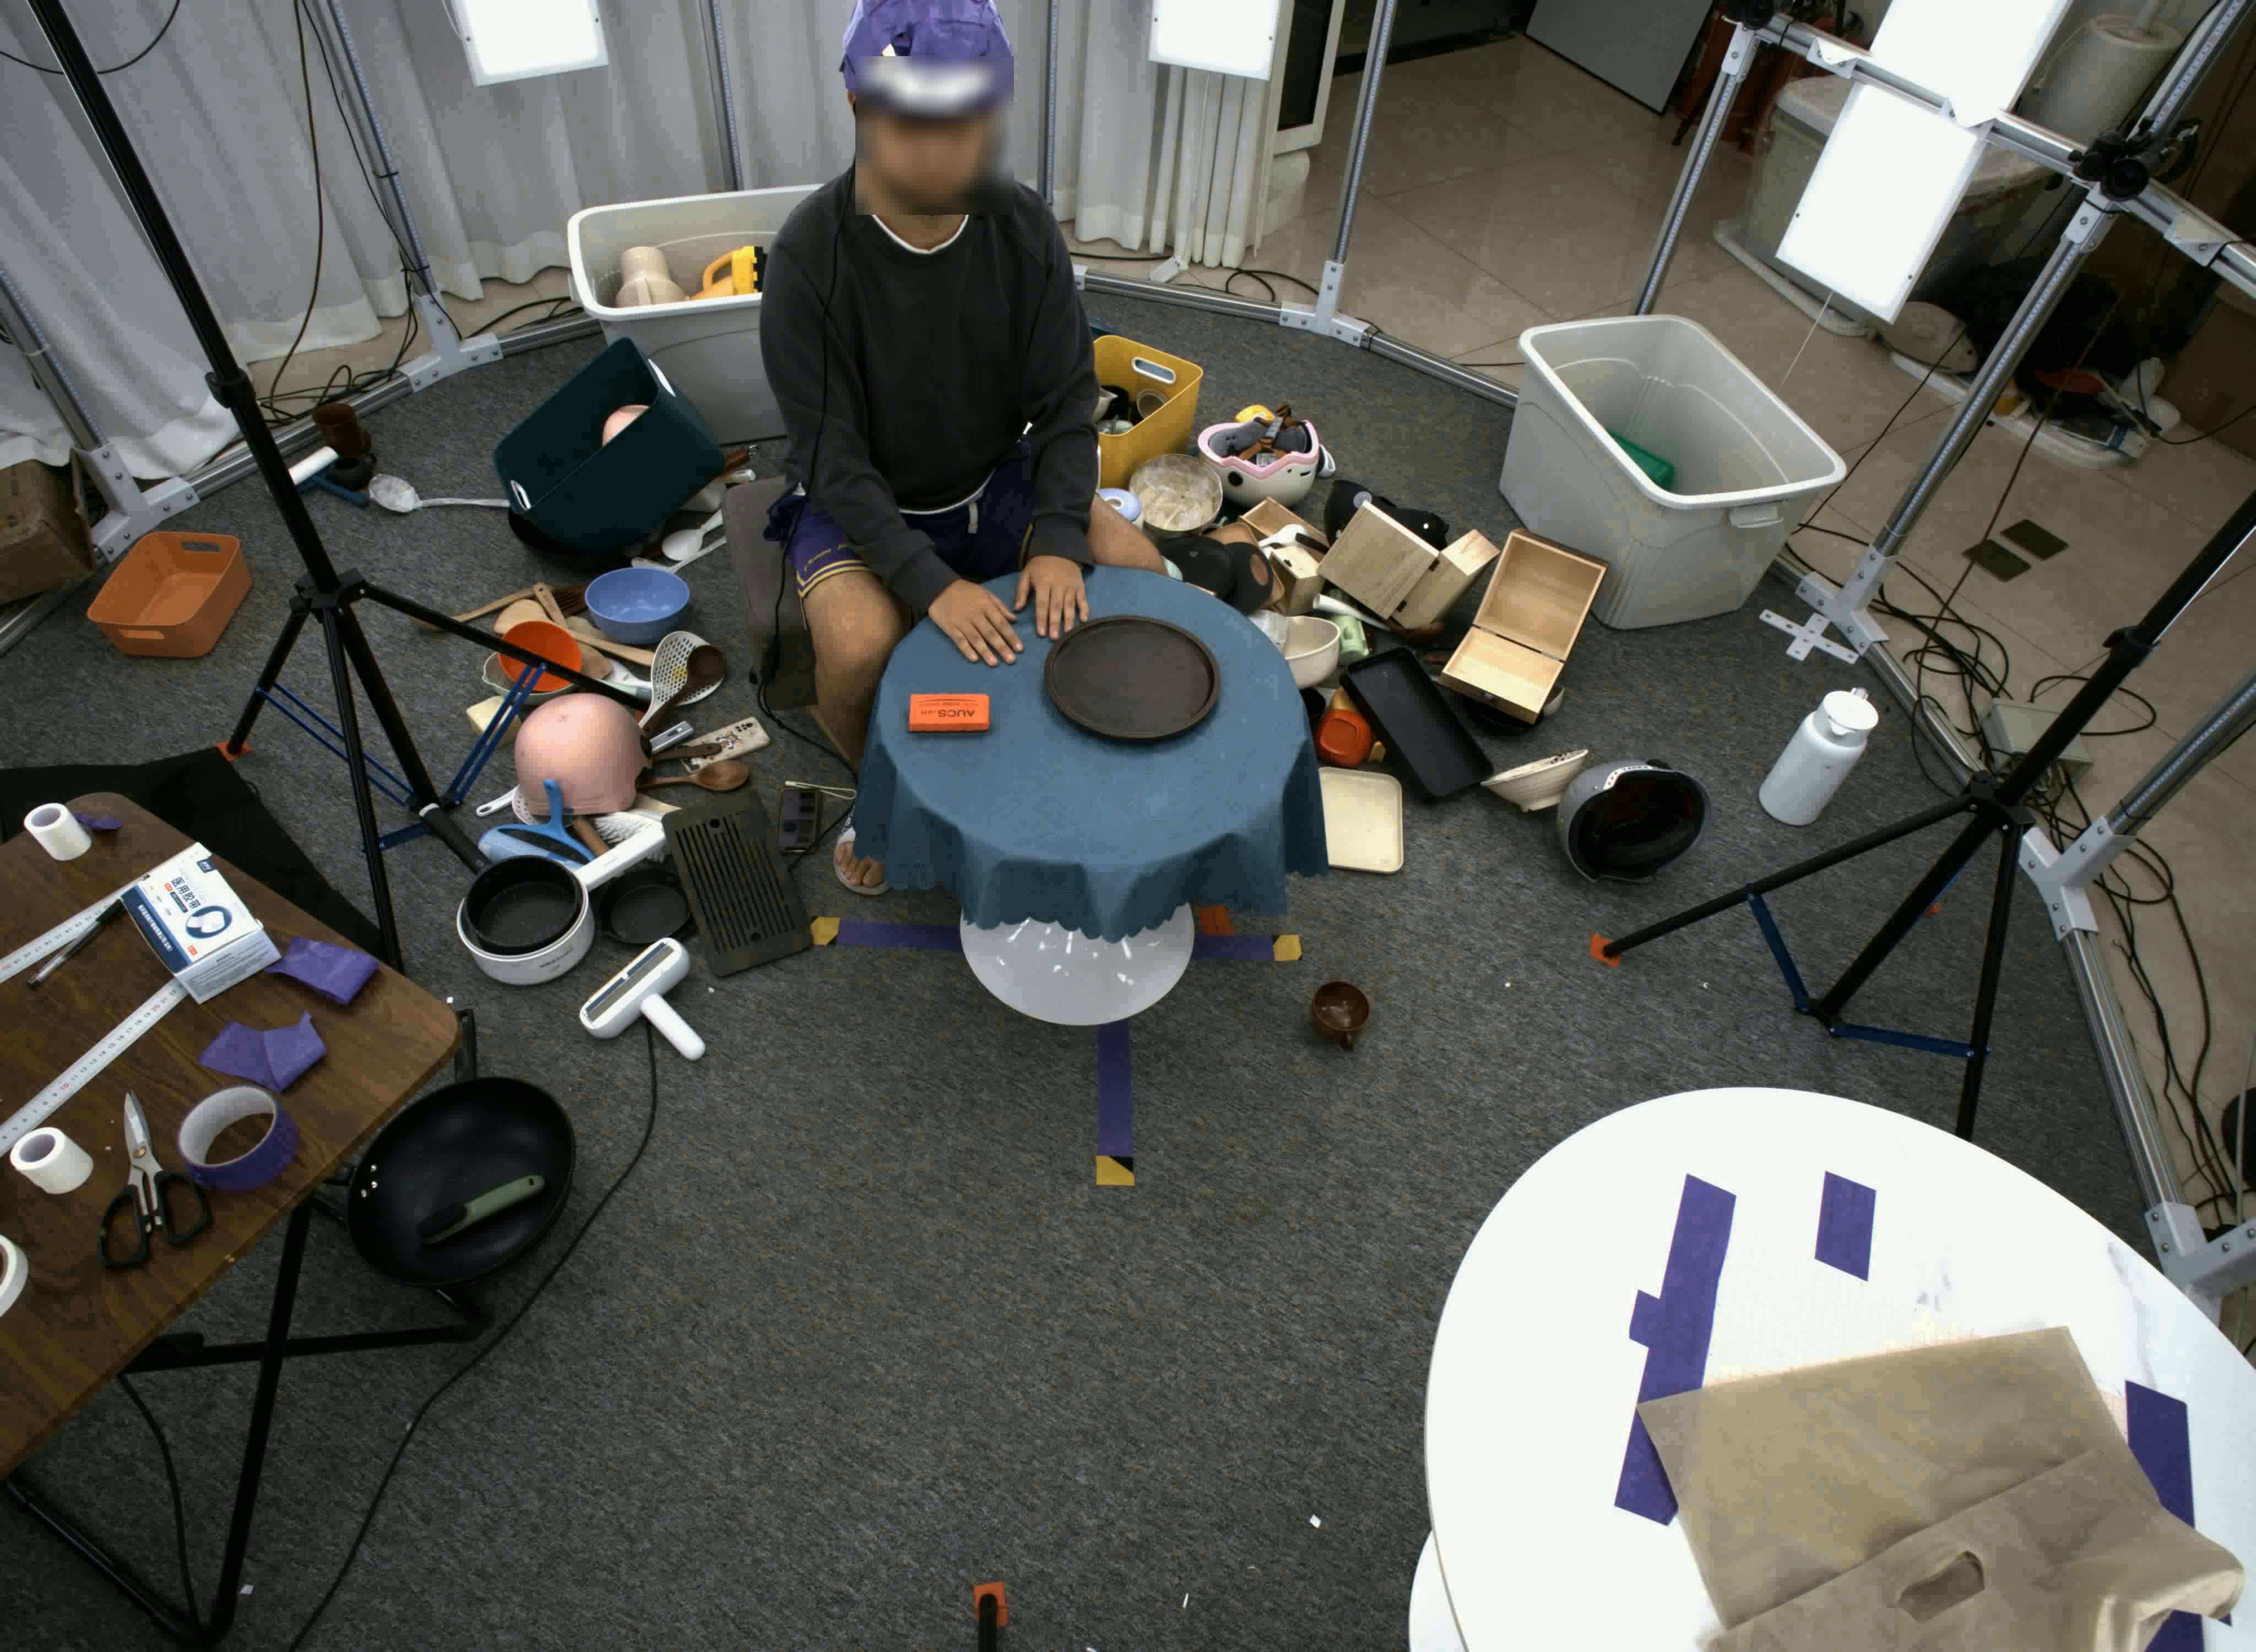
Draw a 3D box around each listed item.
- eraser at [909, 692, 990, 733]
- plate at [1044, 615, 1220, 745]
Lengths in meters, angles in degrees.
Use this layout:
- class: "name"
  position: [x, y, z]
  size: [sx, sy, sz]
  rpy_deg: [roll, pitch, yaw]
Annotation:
- class: "eraser"
  position: [-0.244, -0.157, 1.766]
  size: [0.108, 0.022, 0.060]
  rpy_deg: [-2, 50, -4]
- class: "plate"
  position: [0.005, -0.211, 1.836]
  size: [0.254, 0.028, 0.261]
  rpy_deg: [1, 50, -2]
